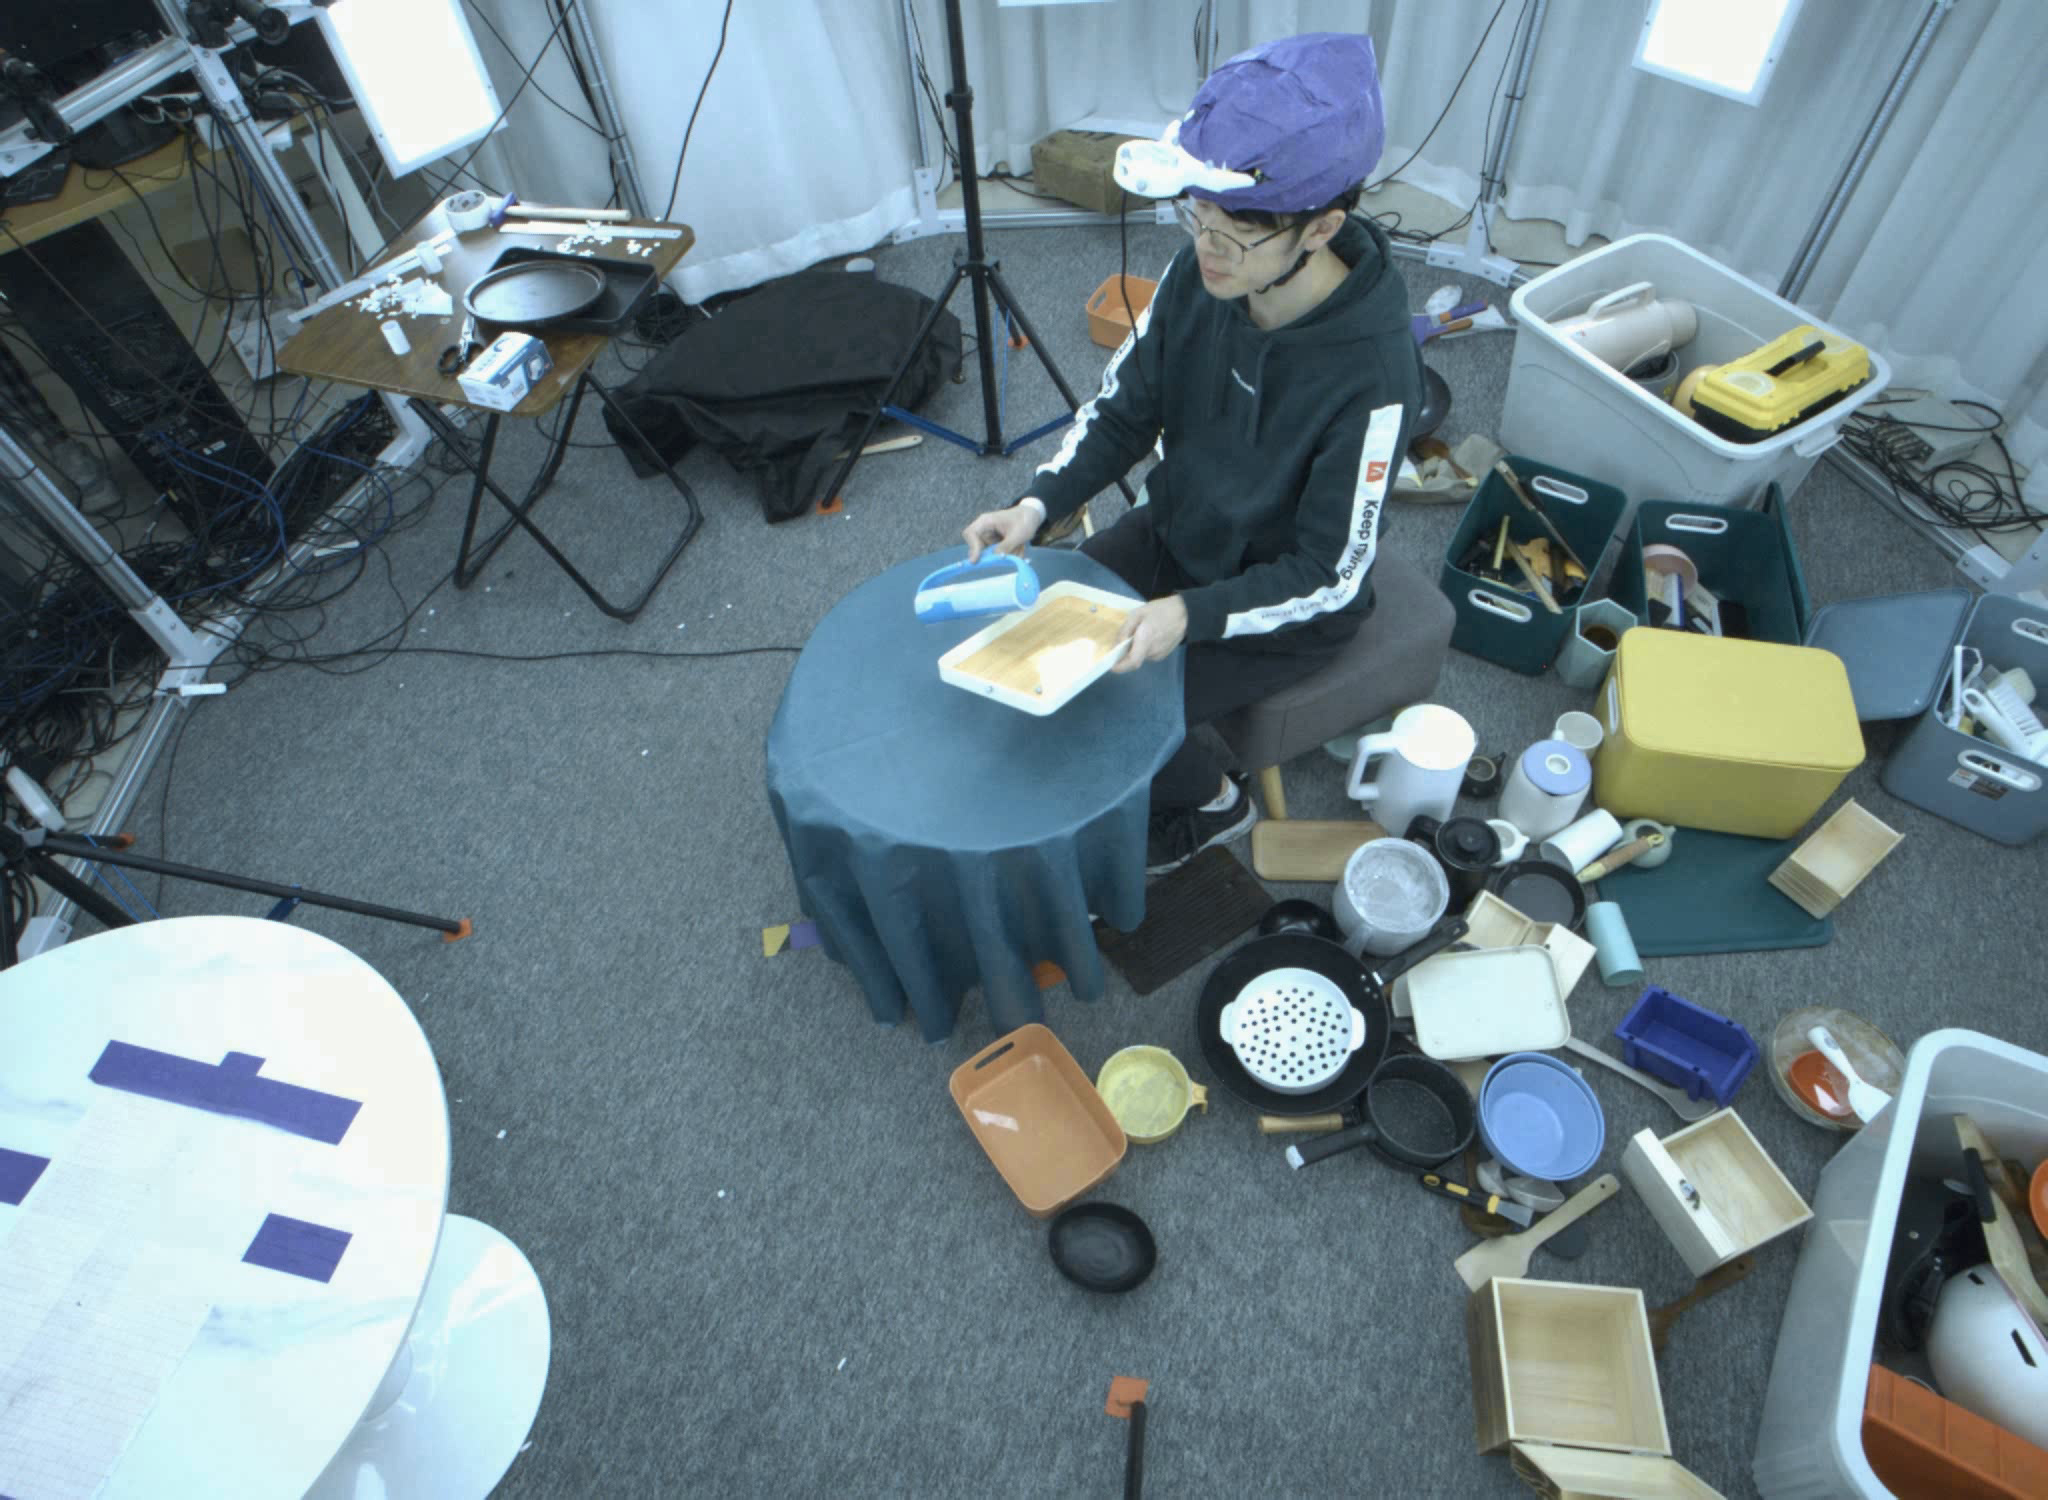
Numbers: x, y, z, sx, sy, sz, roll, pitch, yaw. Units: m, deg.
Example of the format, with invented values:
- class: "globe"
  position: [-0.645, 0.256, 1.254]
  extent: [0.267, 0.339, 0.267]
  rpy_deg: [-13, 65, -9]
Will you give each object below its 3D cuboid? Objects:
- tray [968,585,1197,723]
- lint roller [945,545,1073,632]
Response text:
- class: "tray"
  position: [0.085, -0.140, 1.706]
  extent: [0.187, 0.027, 0.303]
  rpy_deg: [24, 43, 31]
- class: "lint roller"
  position: [-0.003, -0.250, 1.766]
  extent: [0.224, 0.069, 0.180]
  rpy_deg: [-7, 44, 40]
